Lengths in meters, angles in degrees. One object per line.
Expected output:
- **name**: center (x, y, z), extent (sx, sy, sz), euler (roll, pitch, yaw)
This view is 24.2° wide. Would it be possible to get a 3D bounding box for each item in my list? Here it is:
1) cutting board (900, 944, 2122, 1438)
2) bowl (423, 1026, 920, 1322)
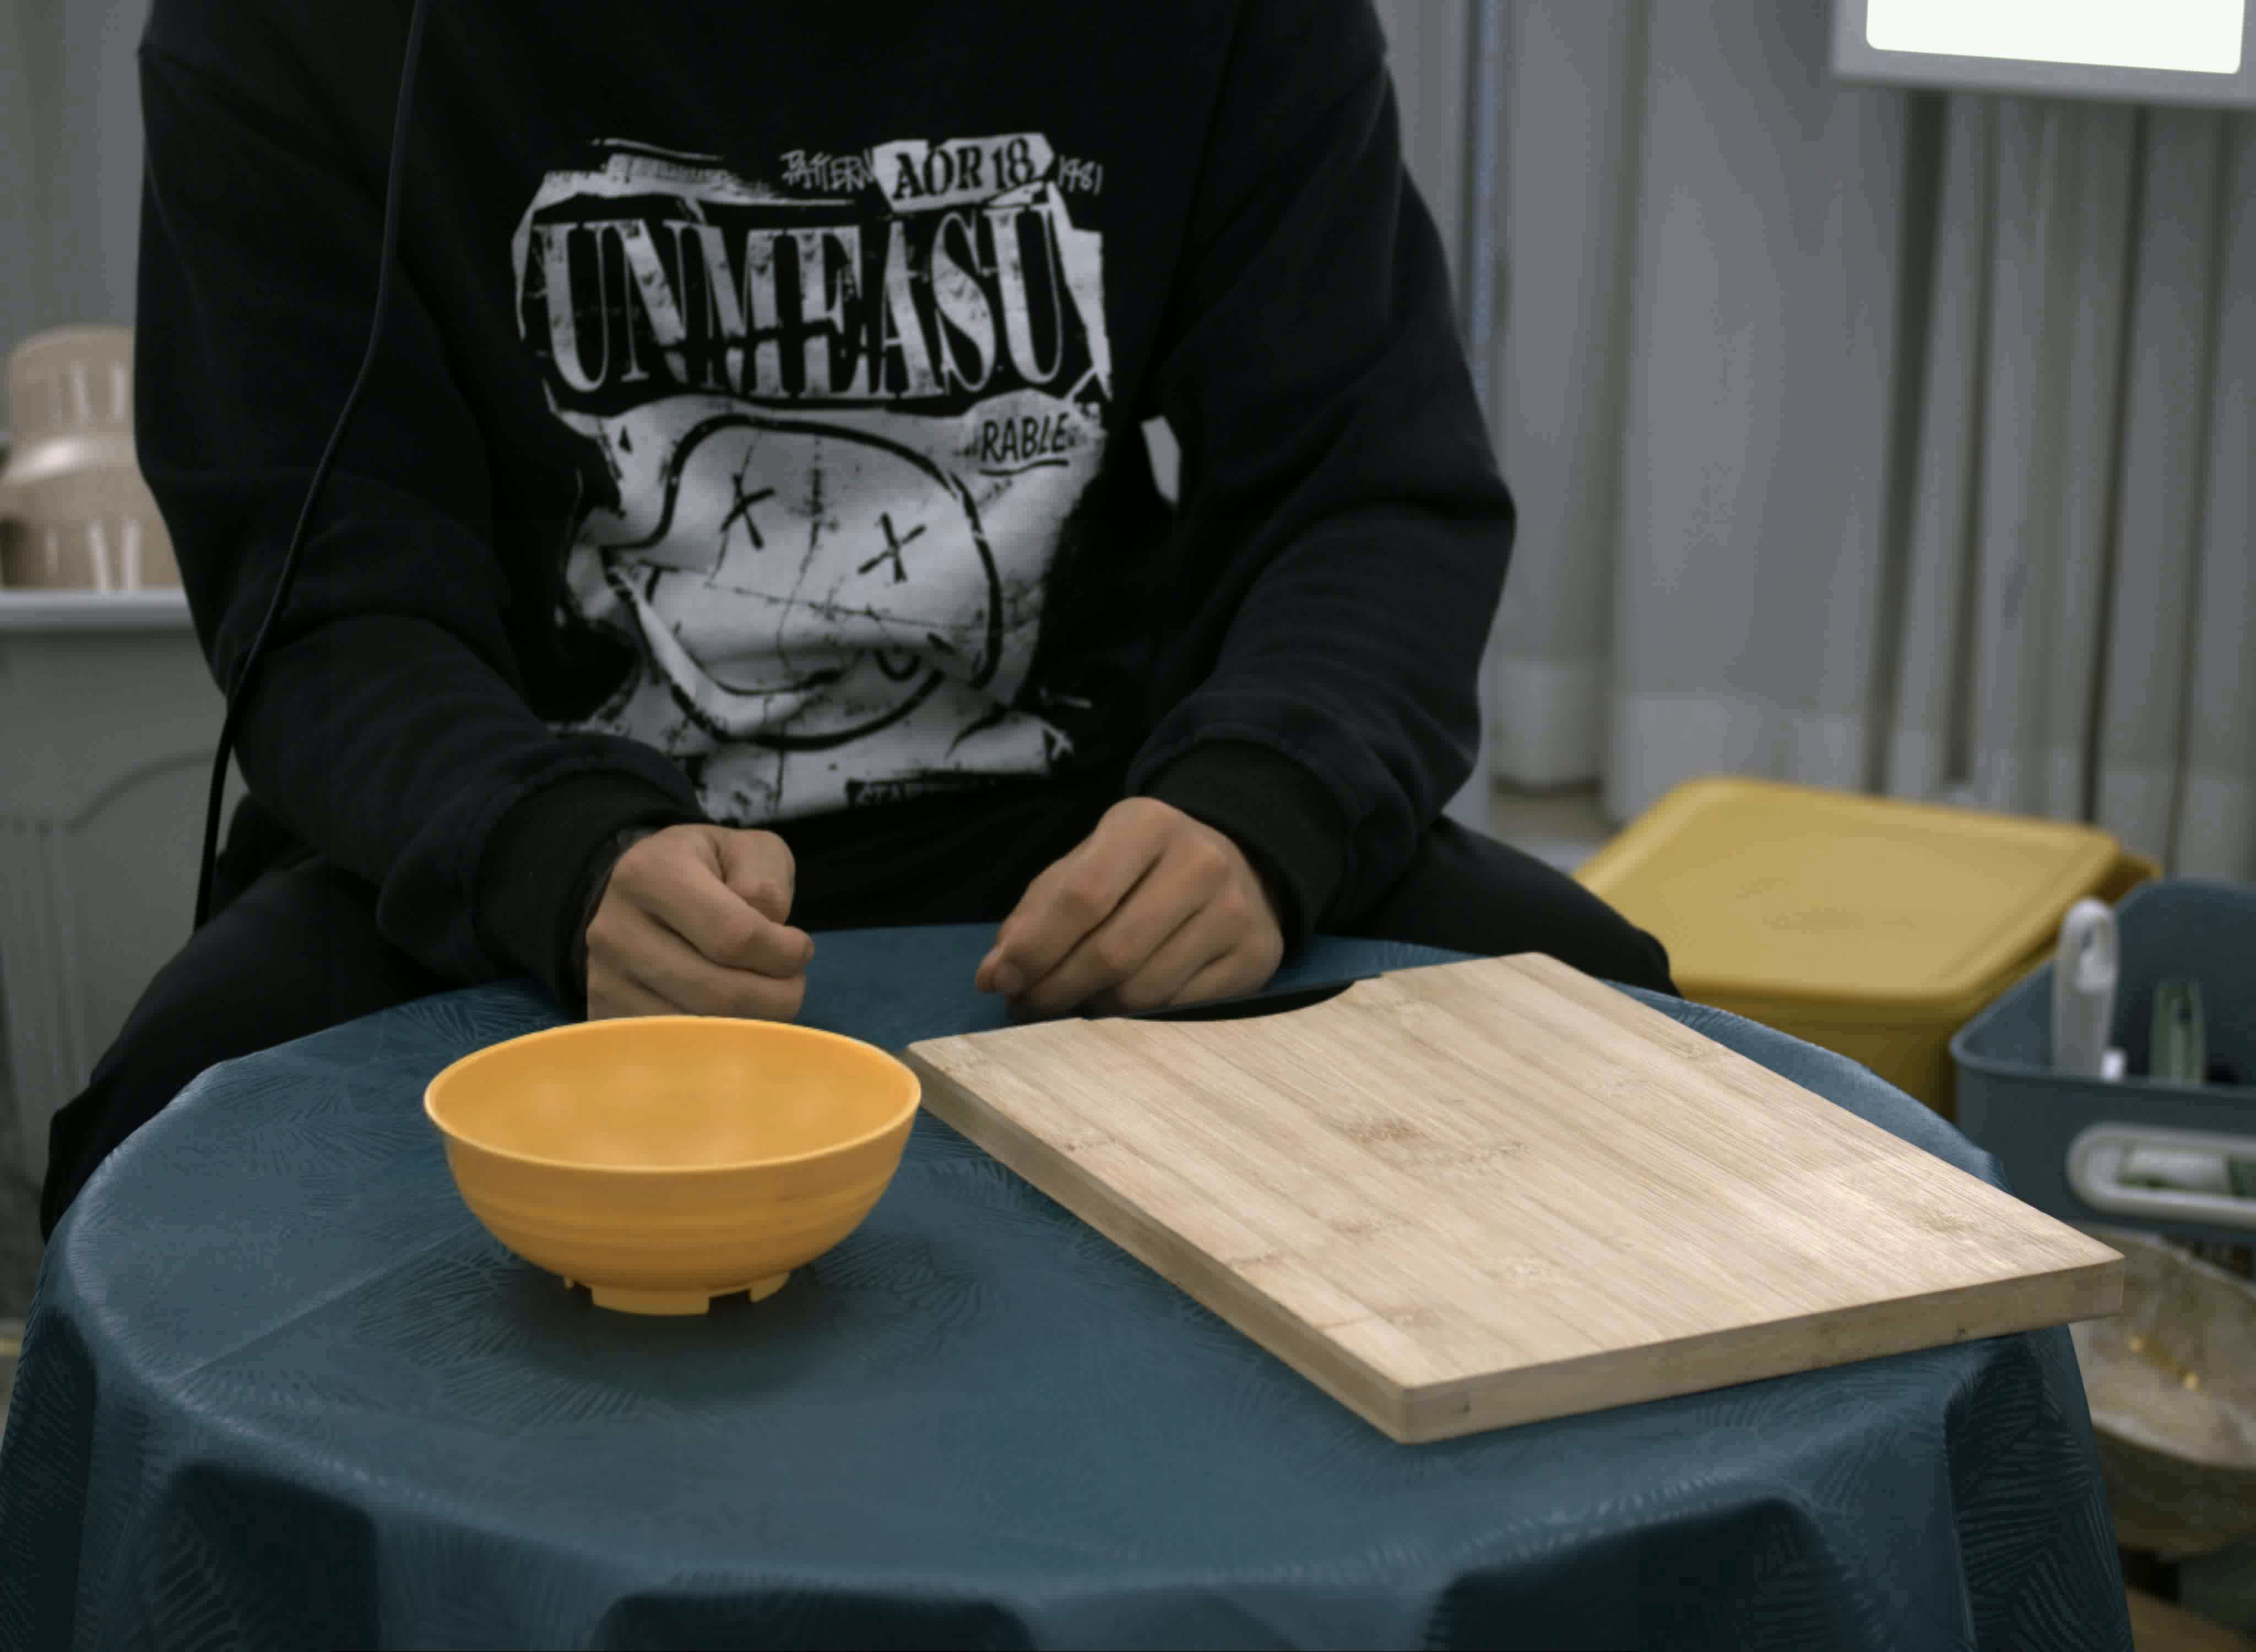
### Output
- **cutting board**: center (0.107, 0.105, 1.627), extent (0.252, 0.024, 0.344), euler (-7, 18, -27)
- **bowl**: center (-0.134, 0.106, 1.540), extent (0.145, 0.060, 0.144), euler (2, 14, 0)
